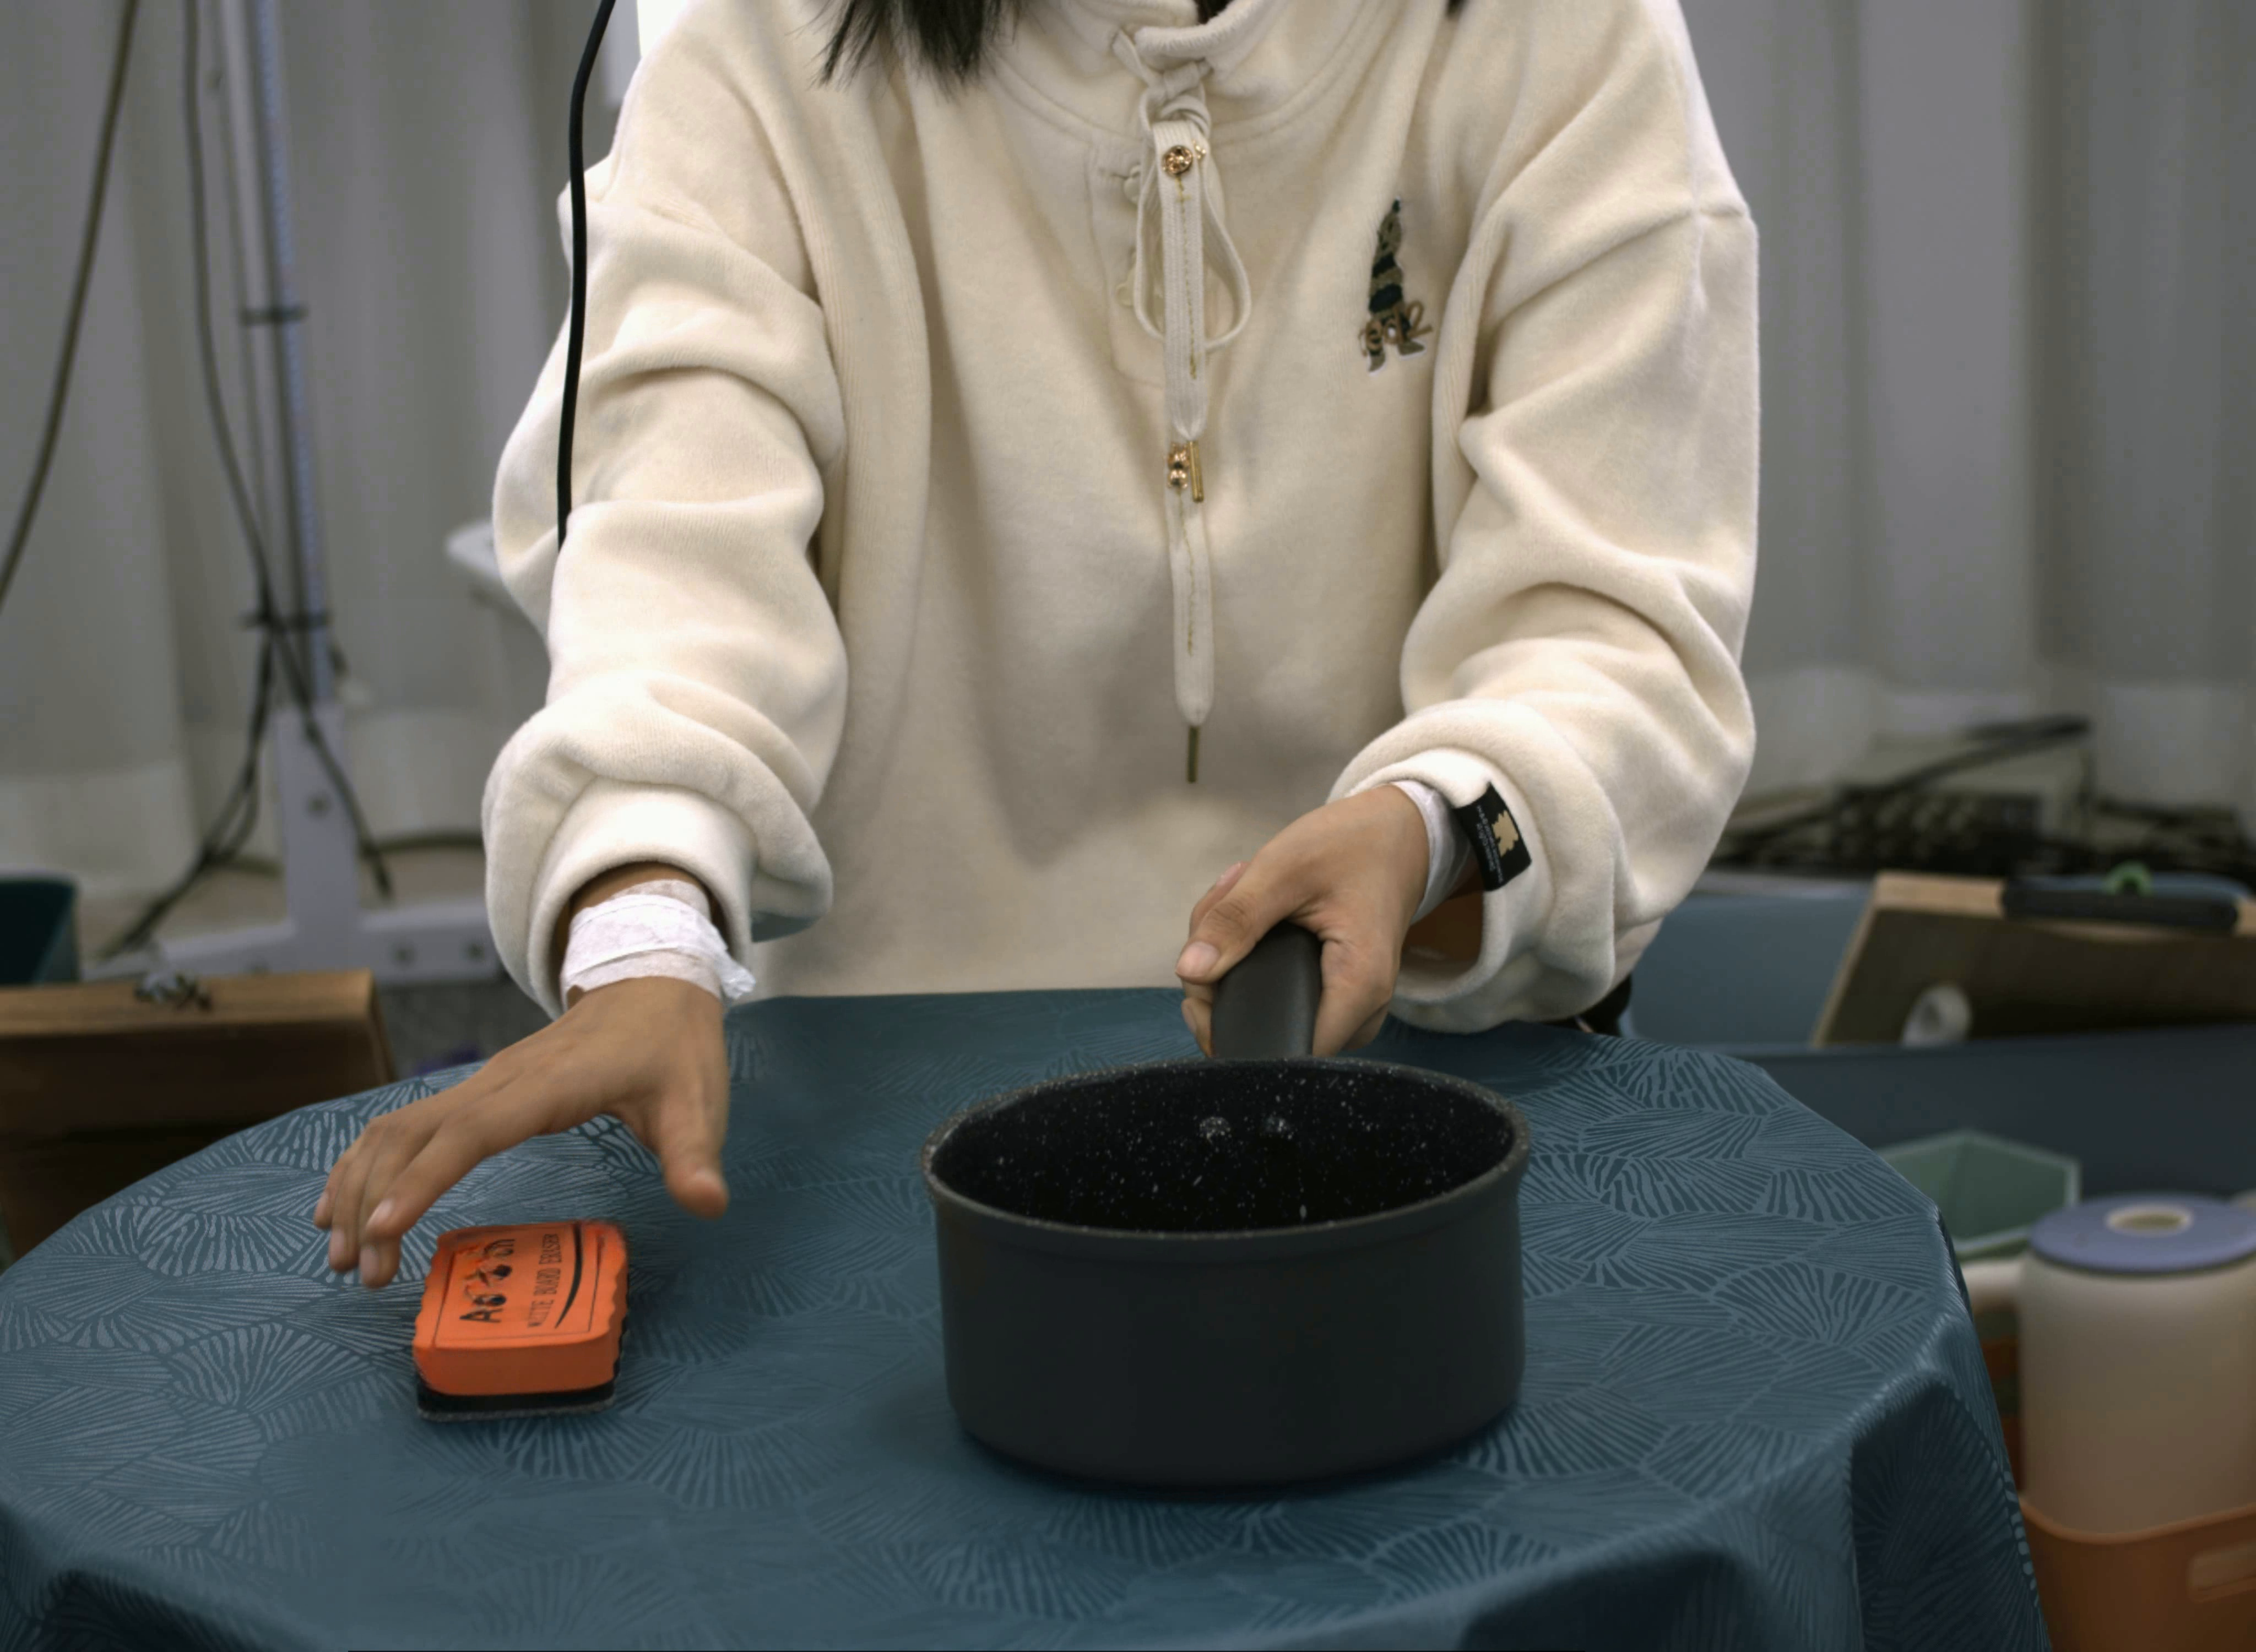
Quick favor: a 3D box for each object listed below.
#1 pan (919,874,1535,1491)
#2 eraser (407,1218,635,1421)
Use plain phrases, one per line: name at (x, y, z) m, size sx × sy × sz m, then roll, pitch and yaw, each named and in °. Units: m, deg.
pan at (0.039, 0.100, 1.600) m, size 0.171 × 0.086 × 0.330 m, roll -1°, pitch 15°, yaw 8°
eraser at (-0.176, 0.143, 1.596) m, size 0.059 × 0.023 × 0.109 m, roll -5°, pitch 15°, yaw 0°
